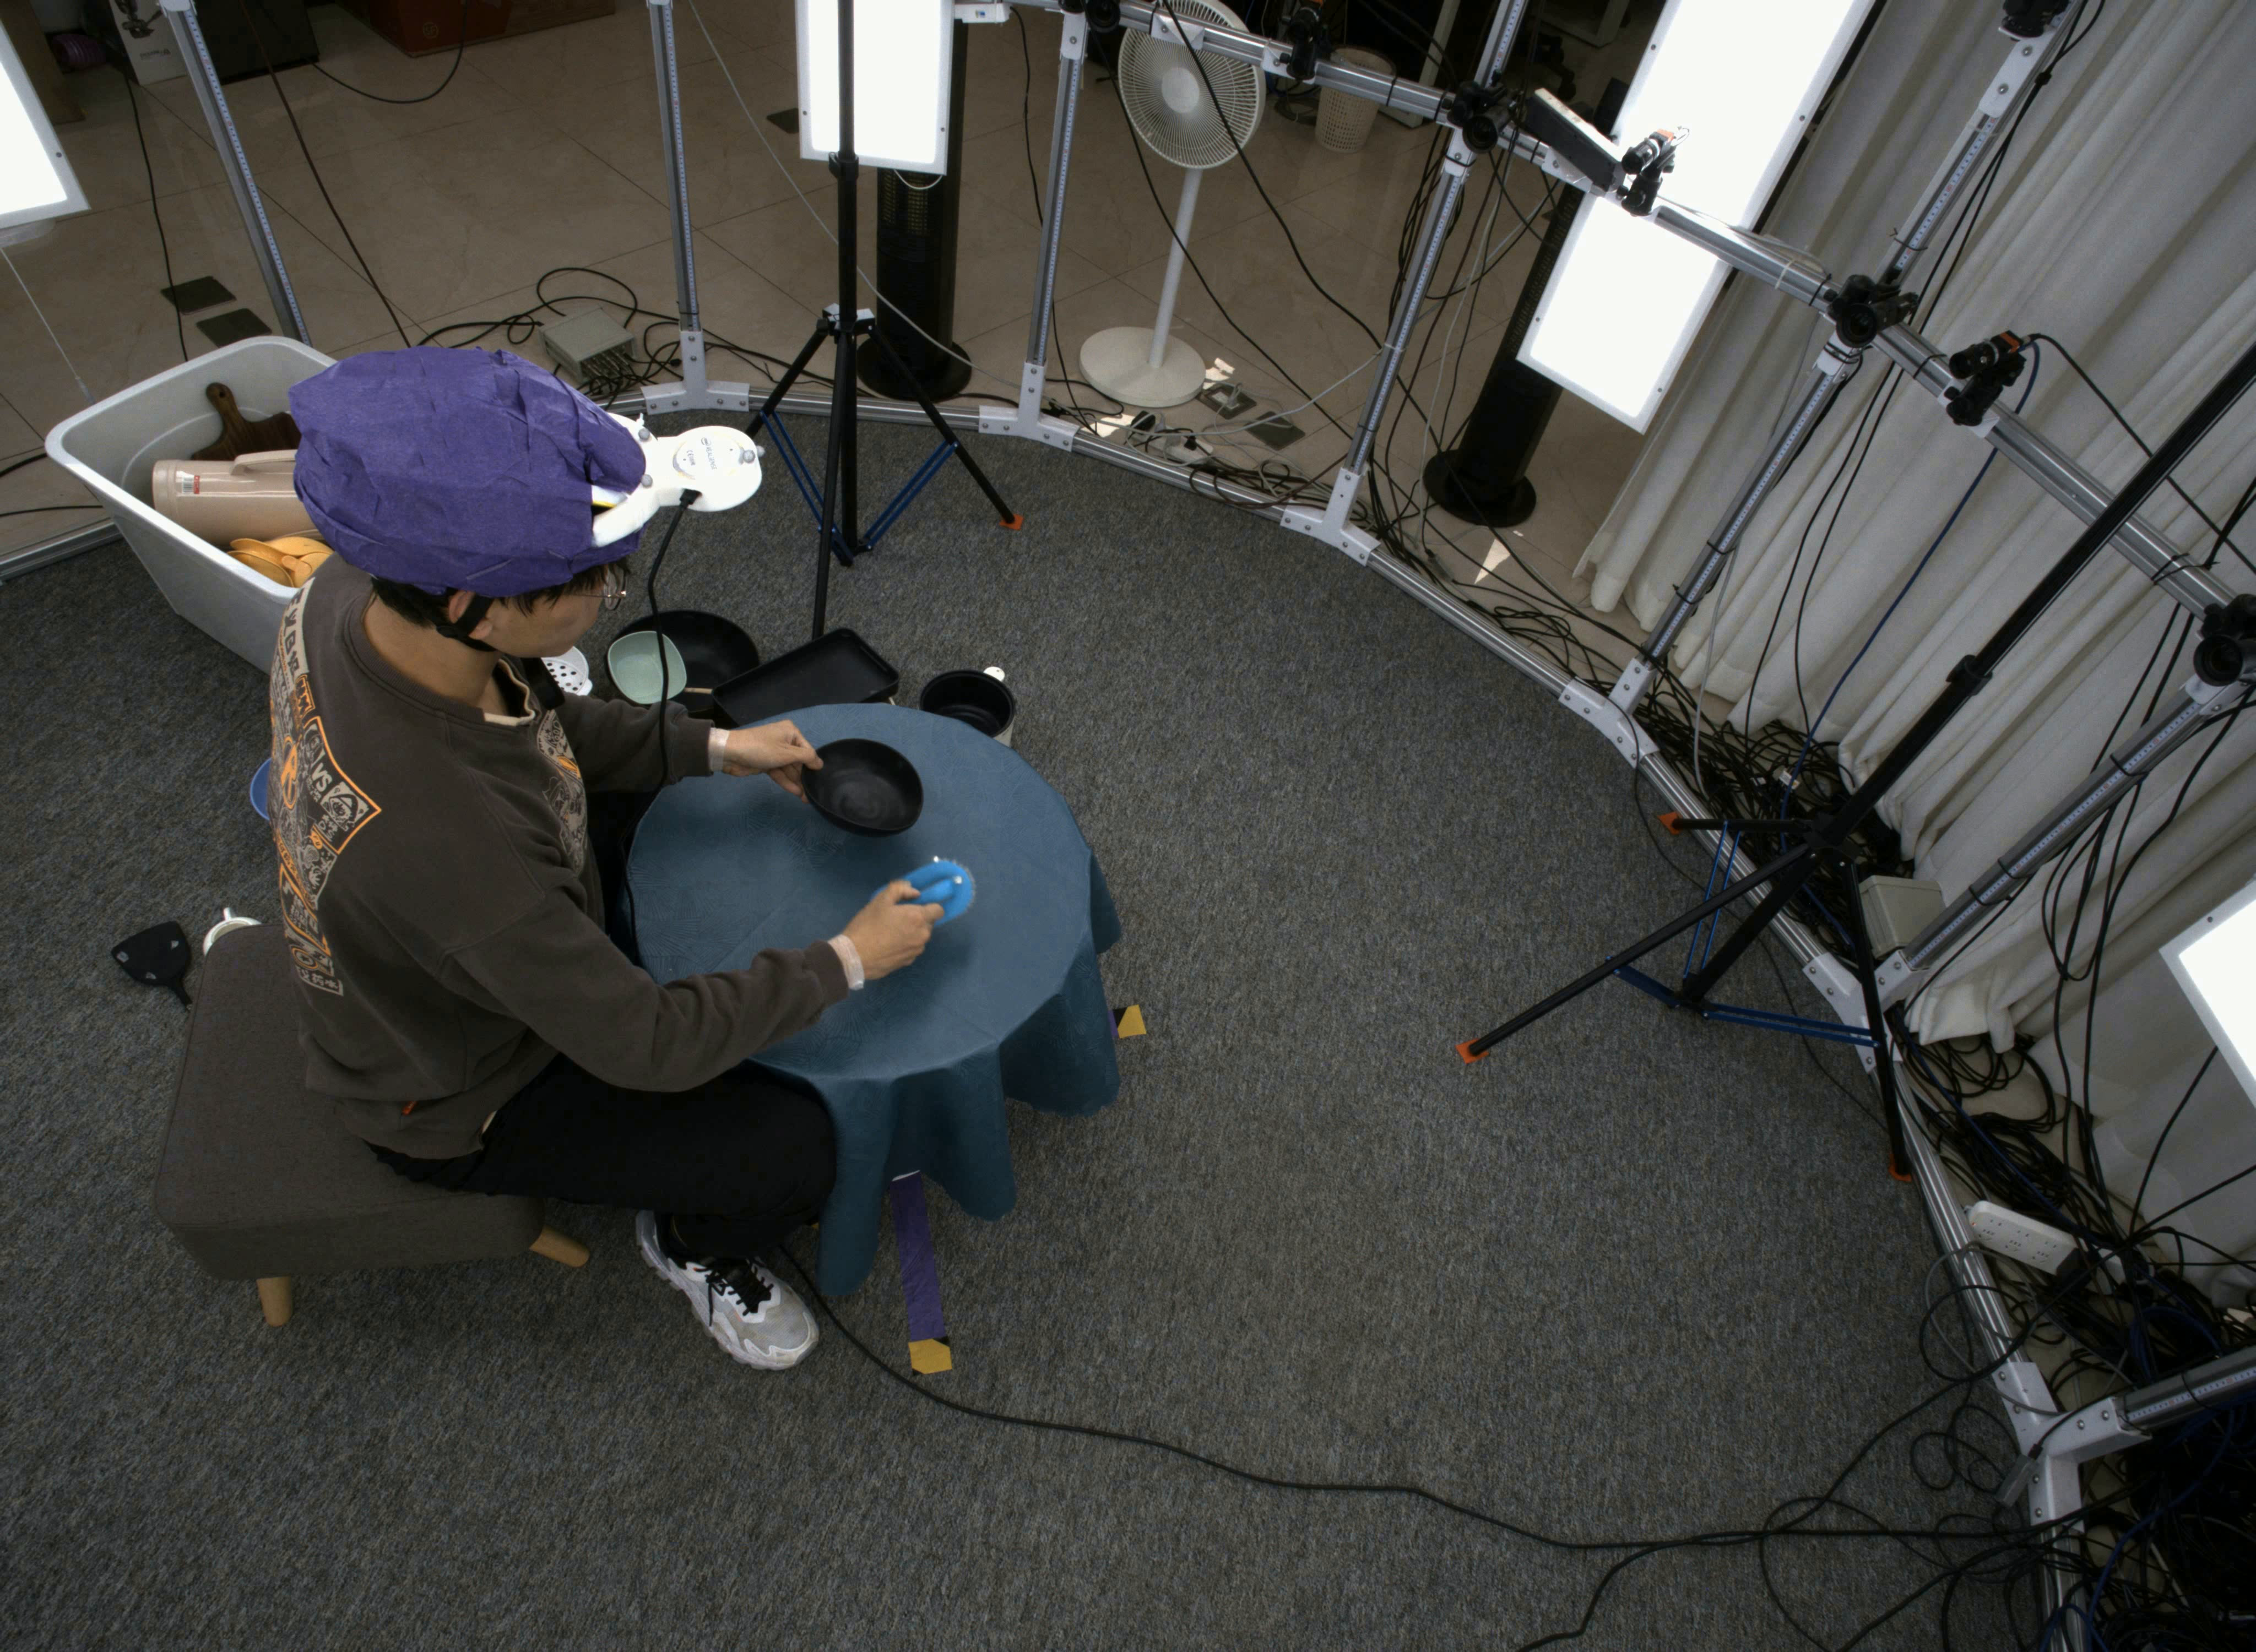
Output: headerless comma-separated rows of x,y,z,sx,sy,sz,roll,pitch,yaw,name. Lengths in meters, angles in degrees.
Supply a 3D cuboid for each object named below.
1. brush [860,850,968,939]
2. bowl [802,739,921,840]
-0.265,0.087,1.613,0.140,0.063,0.086,-24,97,1,brush
-0.346,-0.038,1.696,0.167,0.068,0.137,32,52,11,bowl
